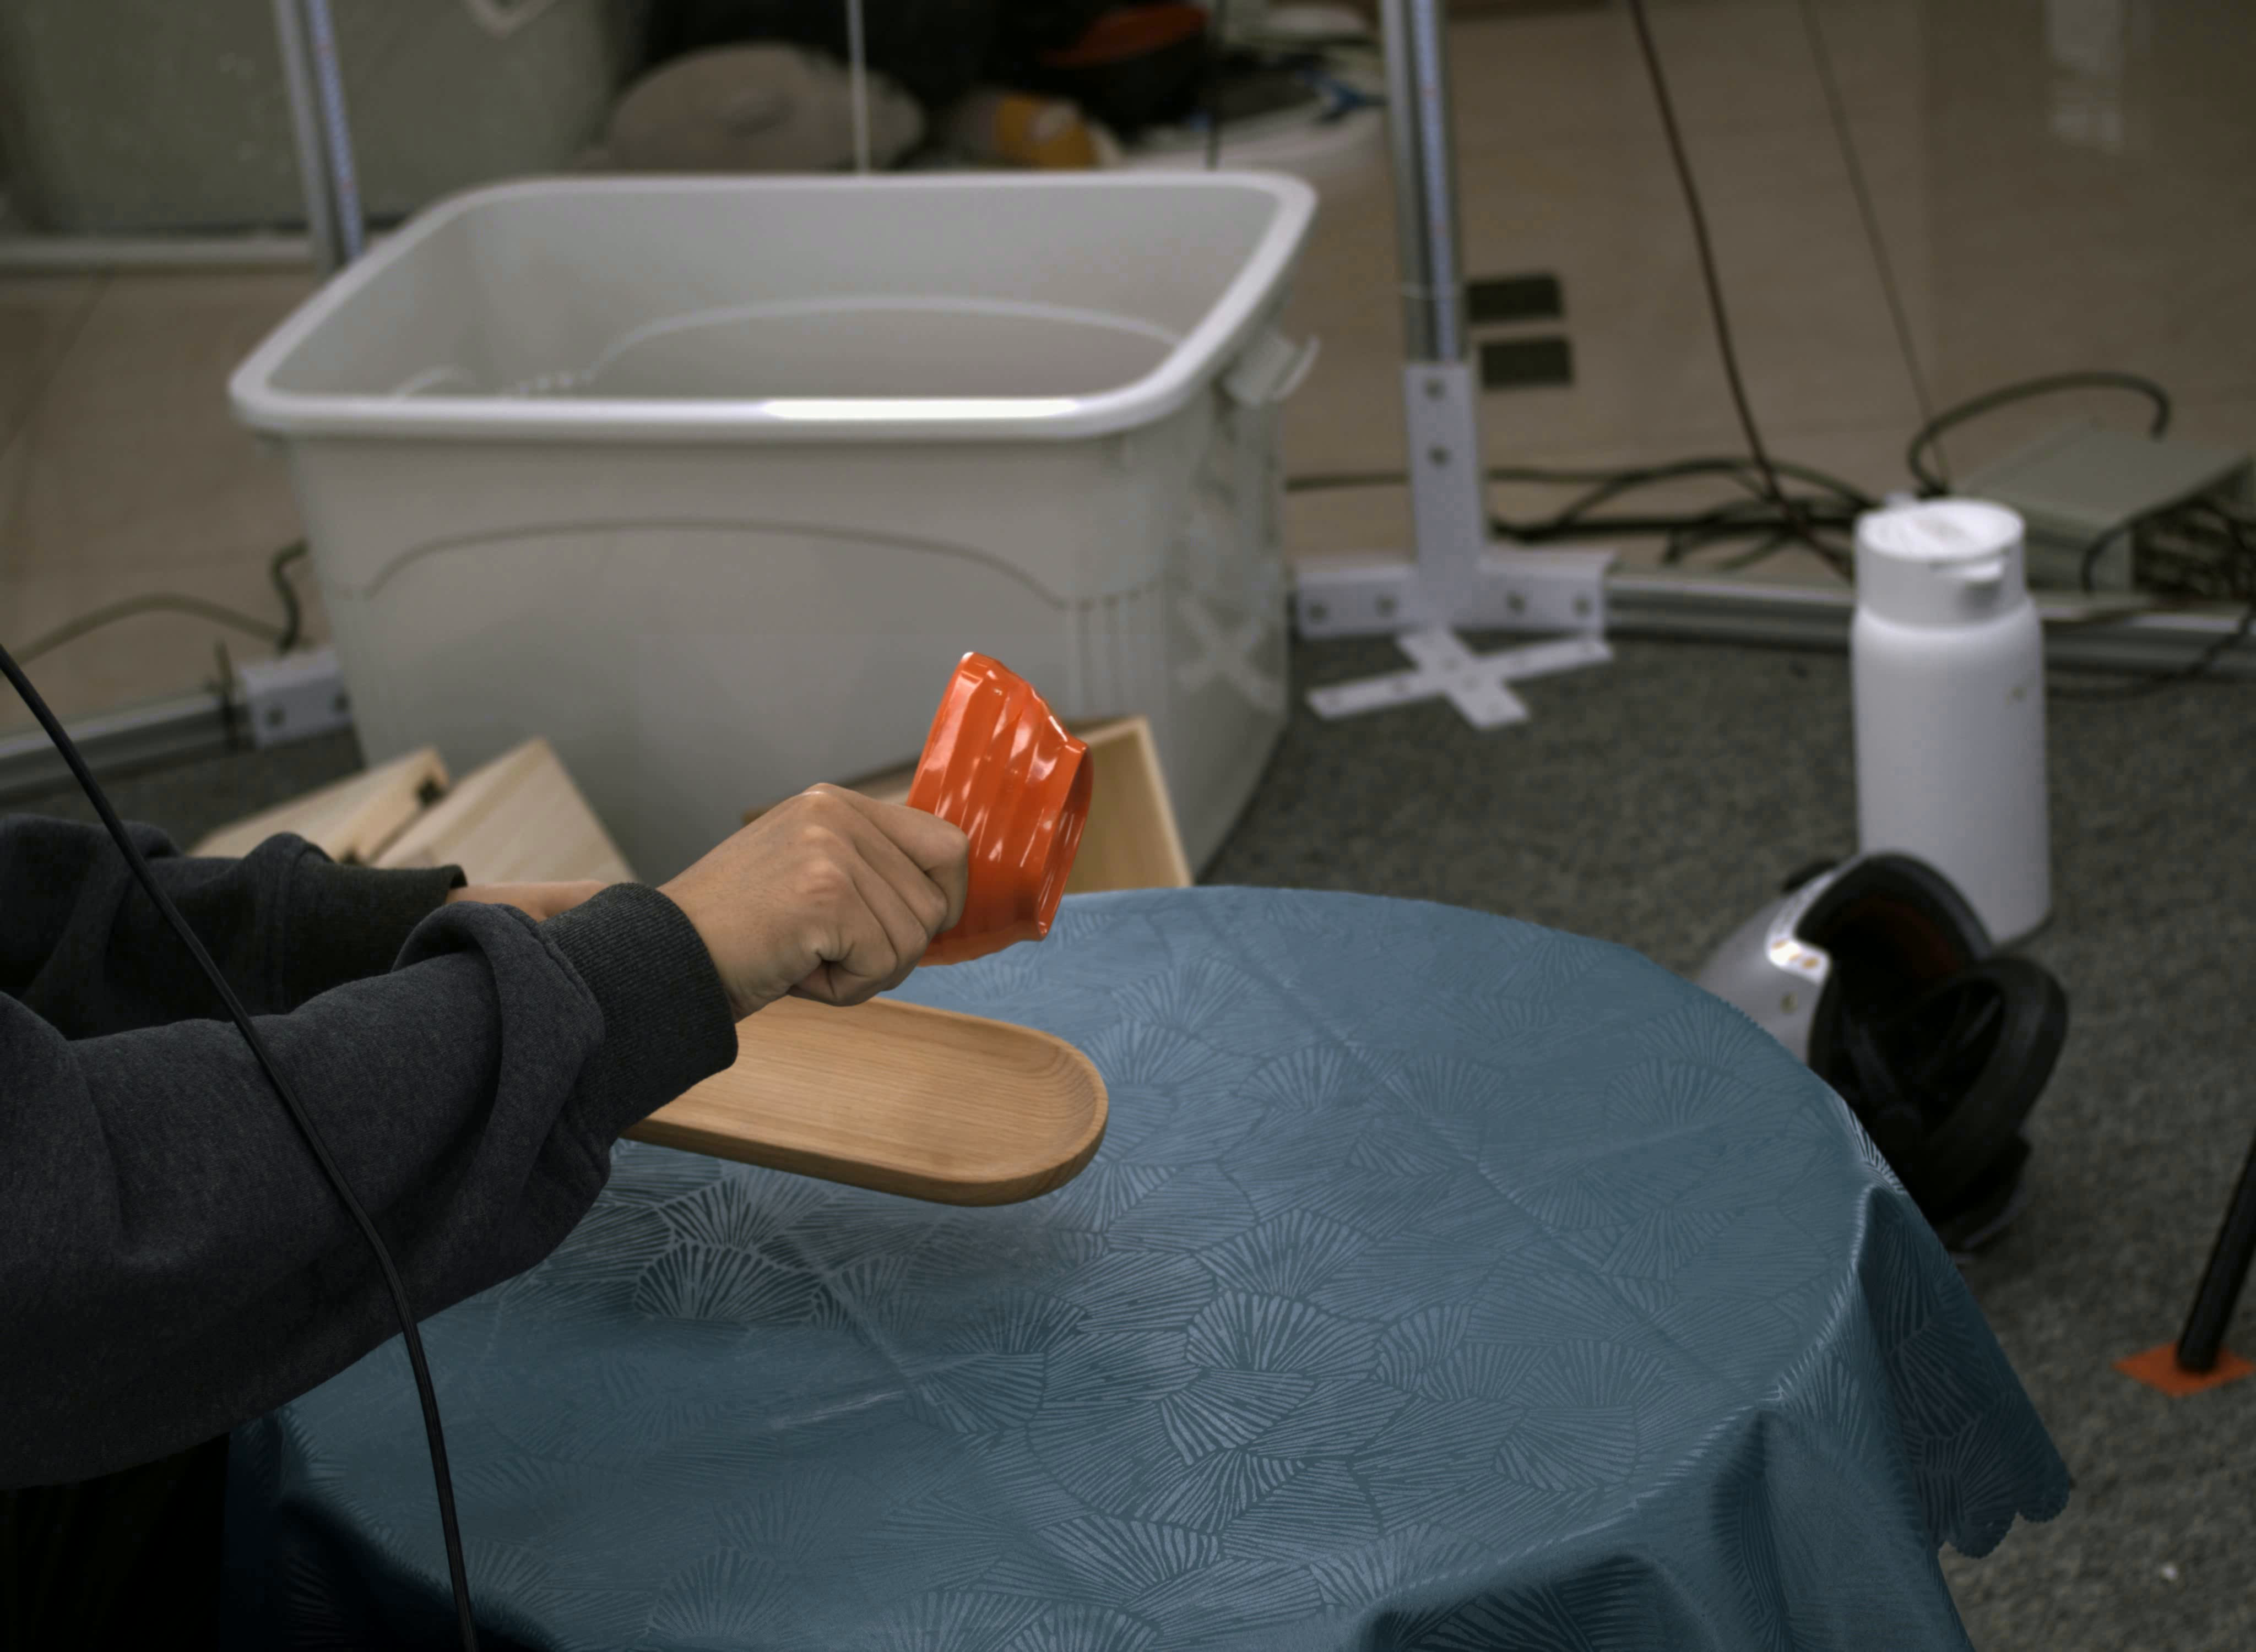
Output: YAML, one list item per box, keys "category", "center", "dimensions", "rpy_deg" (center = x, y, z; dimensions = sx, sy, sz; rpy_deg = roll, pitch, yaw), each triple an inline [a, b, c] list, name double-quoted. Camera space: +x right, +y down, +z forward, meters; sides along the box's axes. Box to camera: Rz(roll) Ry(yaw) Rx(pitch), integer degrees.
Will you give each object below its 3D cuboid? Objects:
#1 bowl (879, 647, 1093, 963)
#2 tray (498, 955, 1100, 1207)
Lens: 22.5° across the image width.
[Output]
- category: "bowl"
  center: [-0.047, -0.001, 2.000]
  dimensions: [0.051, 0.121, 0.117]
  rpy_deg: [18, 29, 6]
- category: "tray"
  center: [-0.123, 0.095, 2.114]
  dimensions: [0.230, 0.021, 0.100]
  rpy_deg: [10, 35, 13]
